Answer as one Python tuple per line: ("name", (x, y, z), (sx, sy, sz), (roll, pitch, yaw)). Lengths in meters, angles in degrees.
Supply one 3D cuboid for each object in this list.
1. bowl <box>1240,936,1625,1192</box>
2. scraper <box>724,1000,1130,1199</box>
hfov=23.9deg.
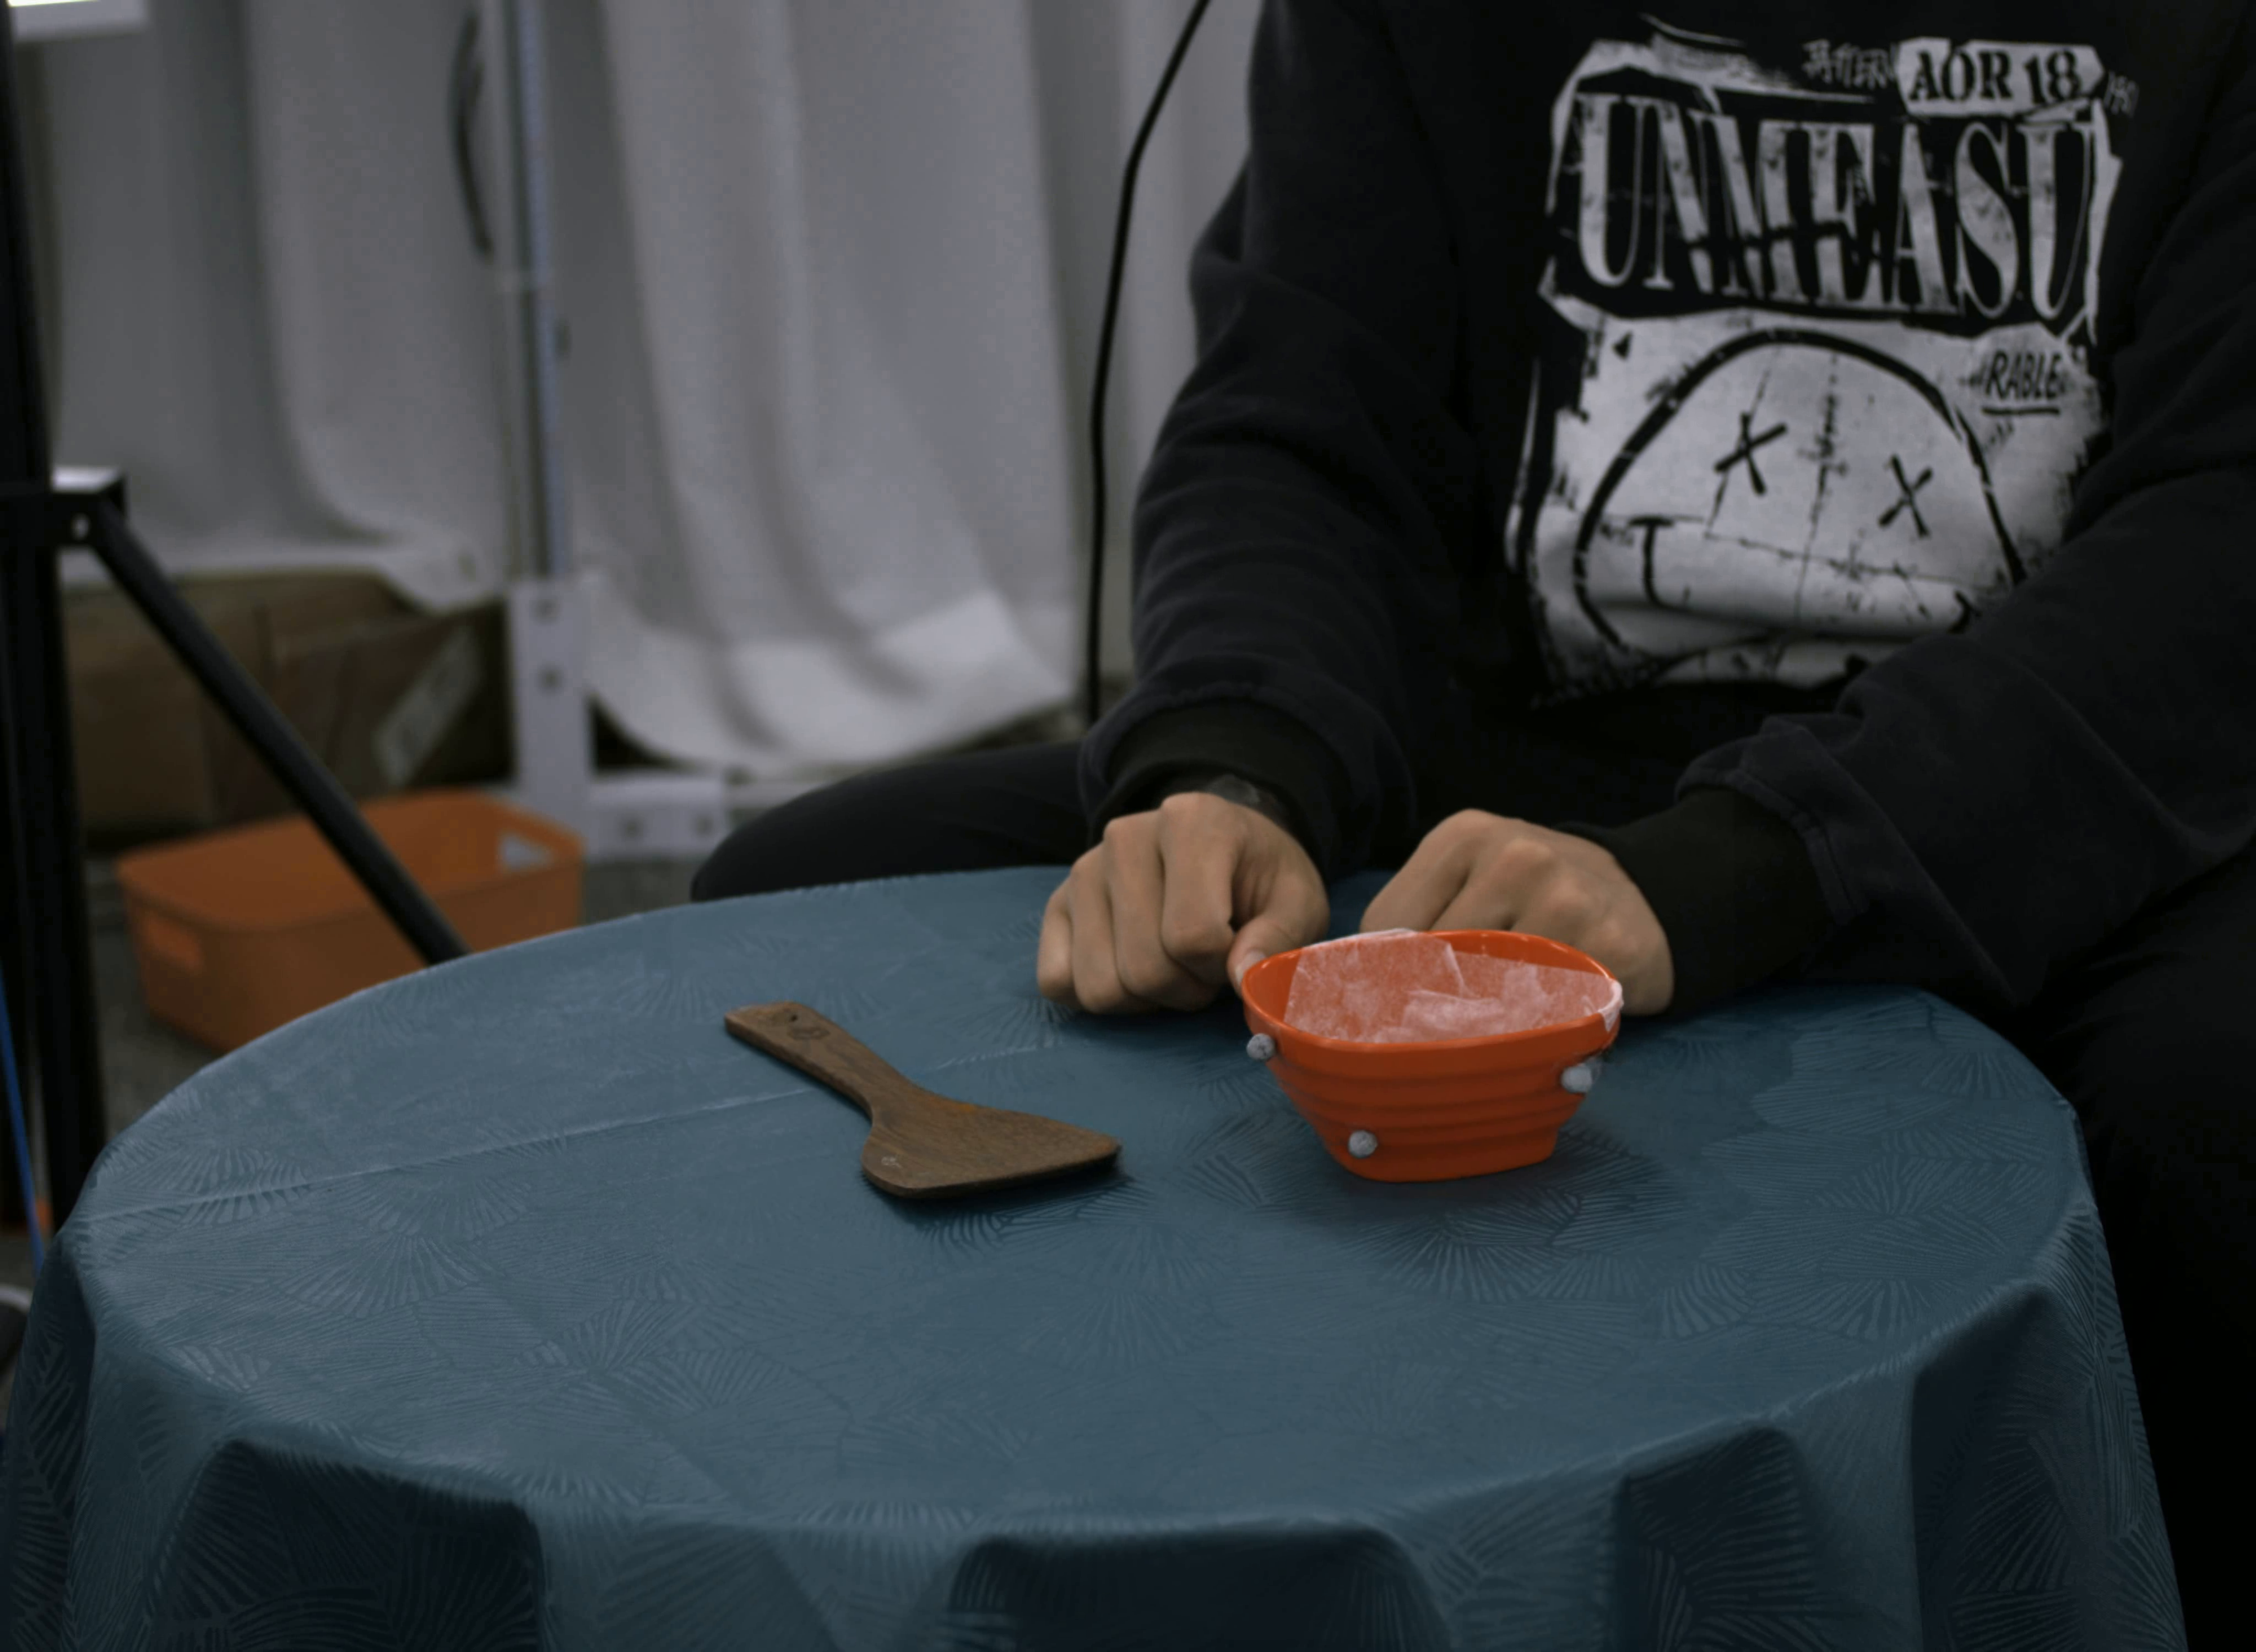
("bowl", (0.091, 0.073, 1.582), (0.118, 0.051, 0.119), (-4, 15, 0))
("scraper", (-0.074, 0.083, 1.645), (0.074, 0.011, 0.215), (-9, 16, -24))
